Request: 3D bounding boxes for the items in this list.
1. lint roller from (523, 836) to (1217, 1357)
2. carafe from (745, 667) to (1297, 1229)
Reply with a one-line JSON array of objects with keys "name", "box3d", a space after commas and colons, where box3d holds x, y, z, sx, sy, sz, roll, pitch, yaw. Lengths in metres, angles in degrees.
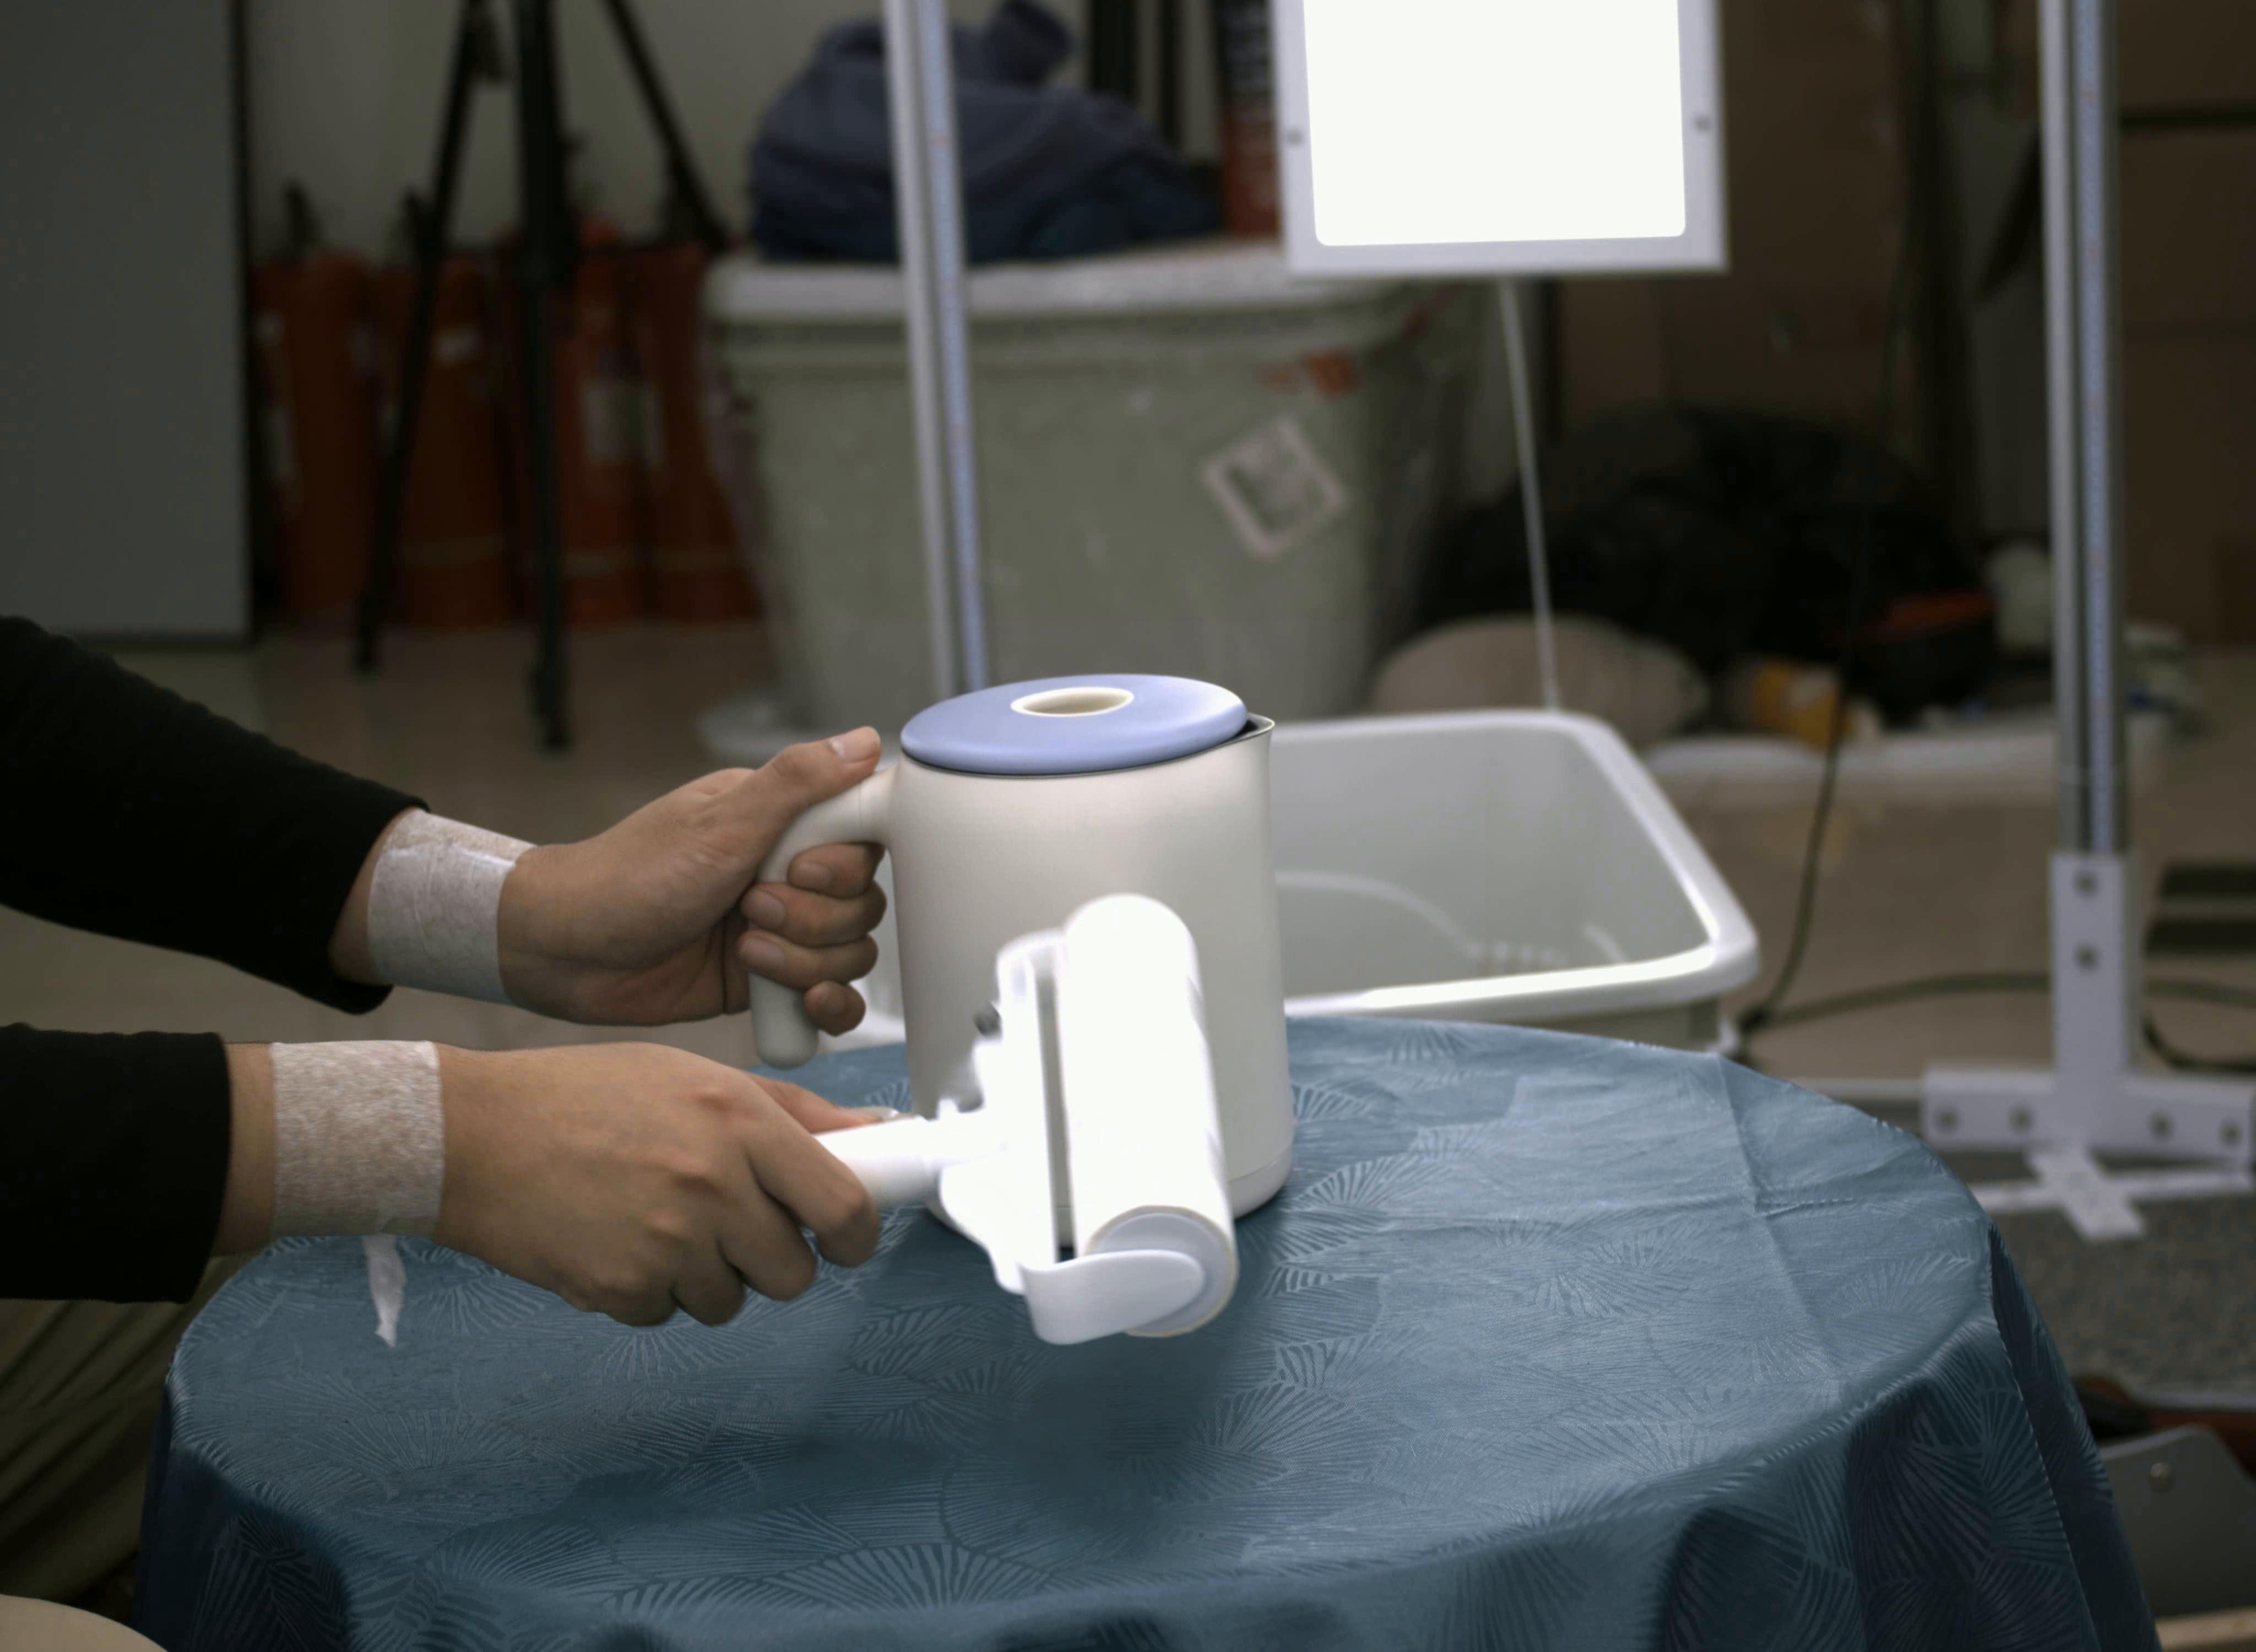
[{"name": "lint roller", "box3d": [-0.087, 0.107, 1.691, 0.227, 0.048, 0.203, -21, 36, 10]}, {"name": "carafe", "box3d": [-0.037, 0.046, 1.880, 0.192, 0.183, 0.131, -5, 13, 8]}]
